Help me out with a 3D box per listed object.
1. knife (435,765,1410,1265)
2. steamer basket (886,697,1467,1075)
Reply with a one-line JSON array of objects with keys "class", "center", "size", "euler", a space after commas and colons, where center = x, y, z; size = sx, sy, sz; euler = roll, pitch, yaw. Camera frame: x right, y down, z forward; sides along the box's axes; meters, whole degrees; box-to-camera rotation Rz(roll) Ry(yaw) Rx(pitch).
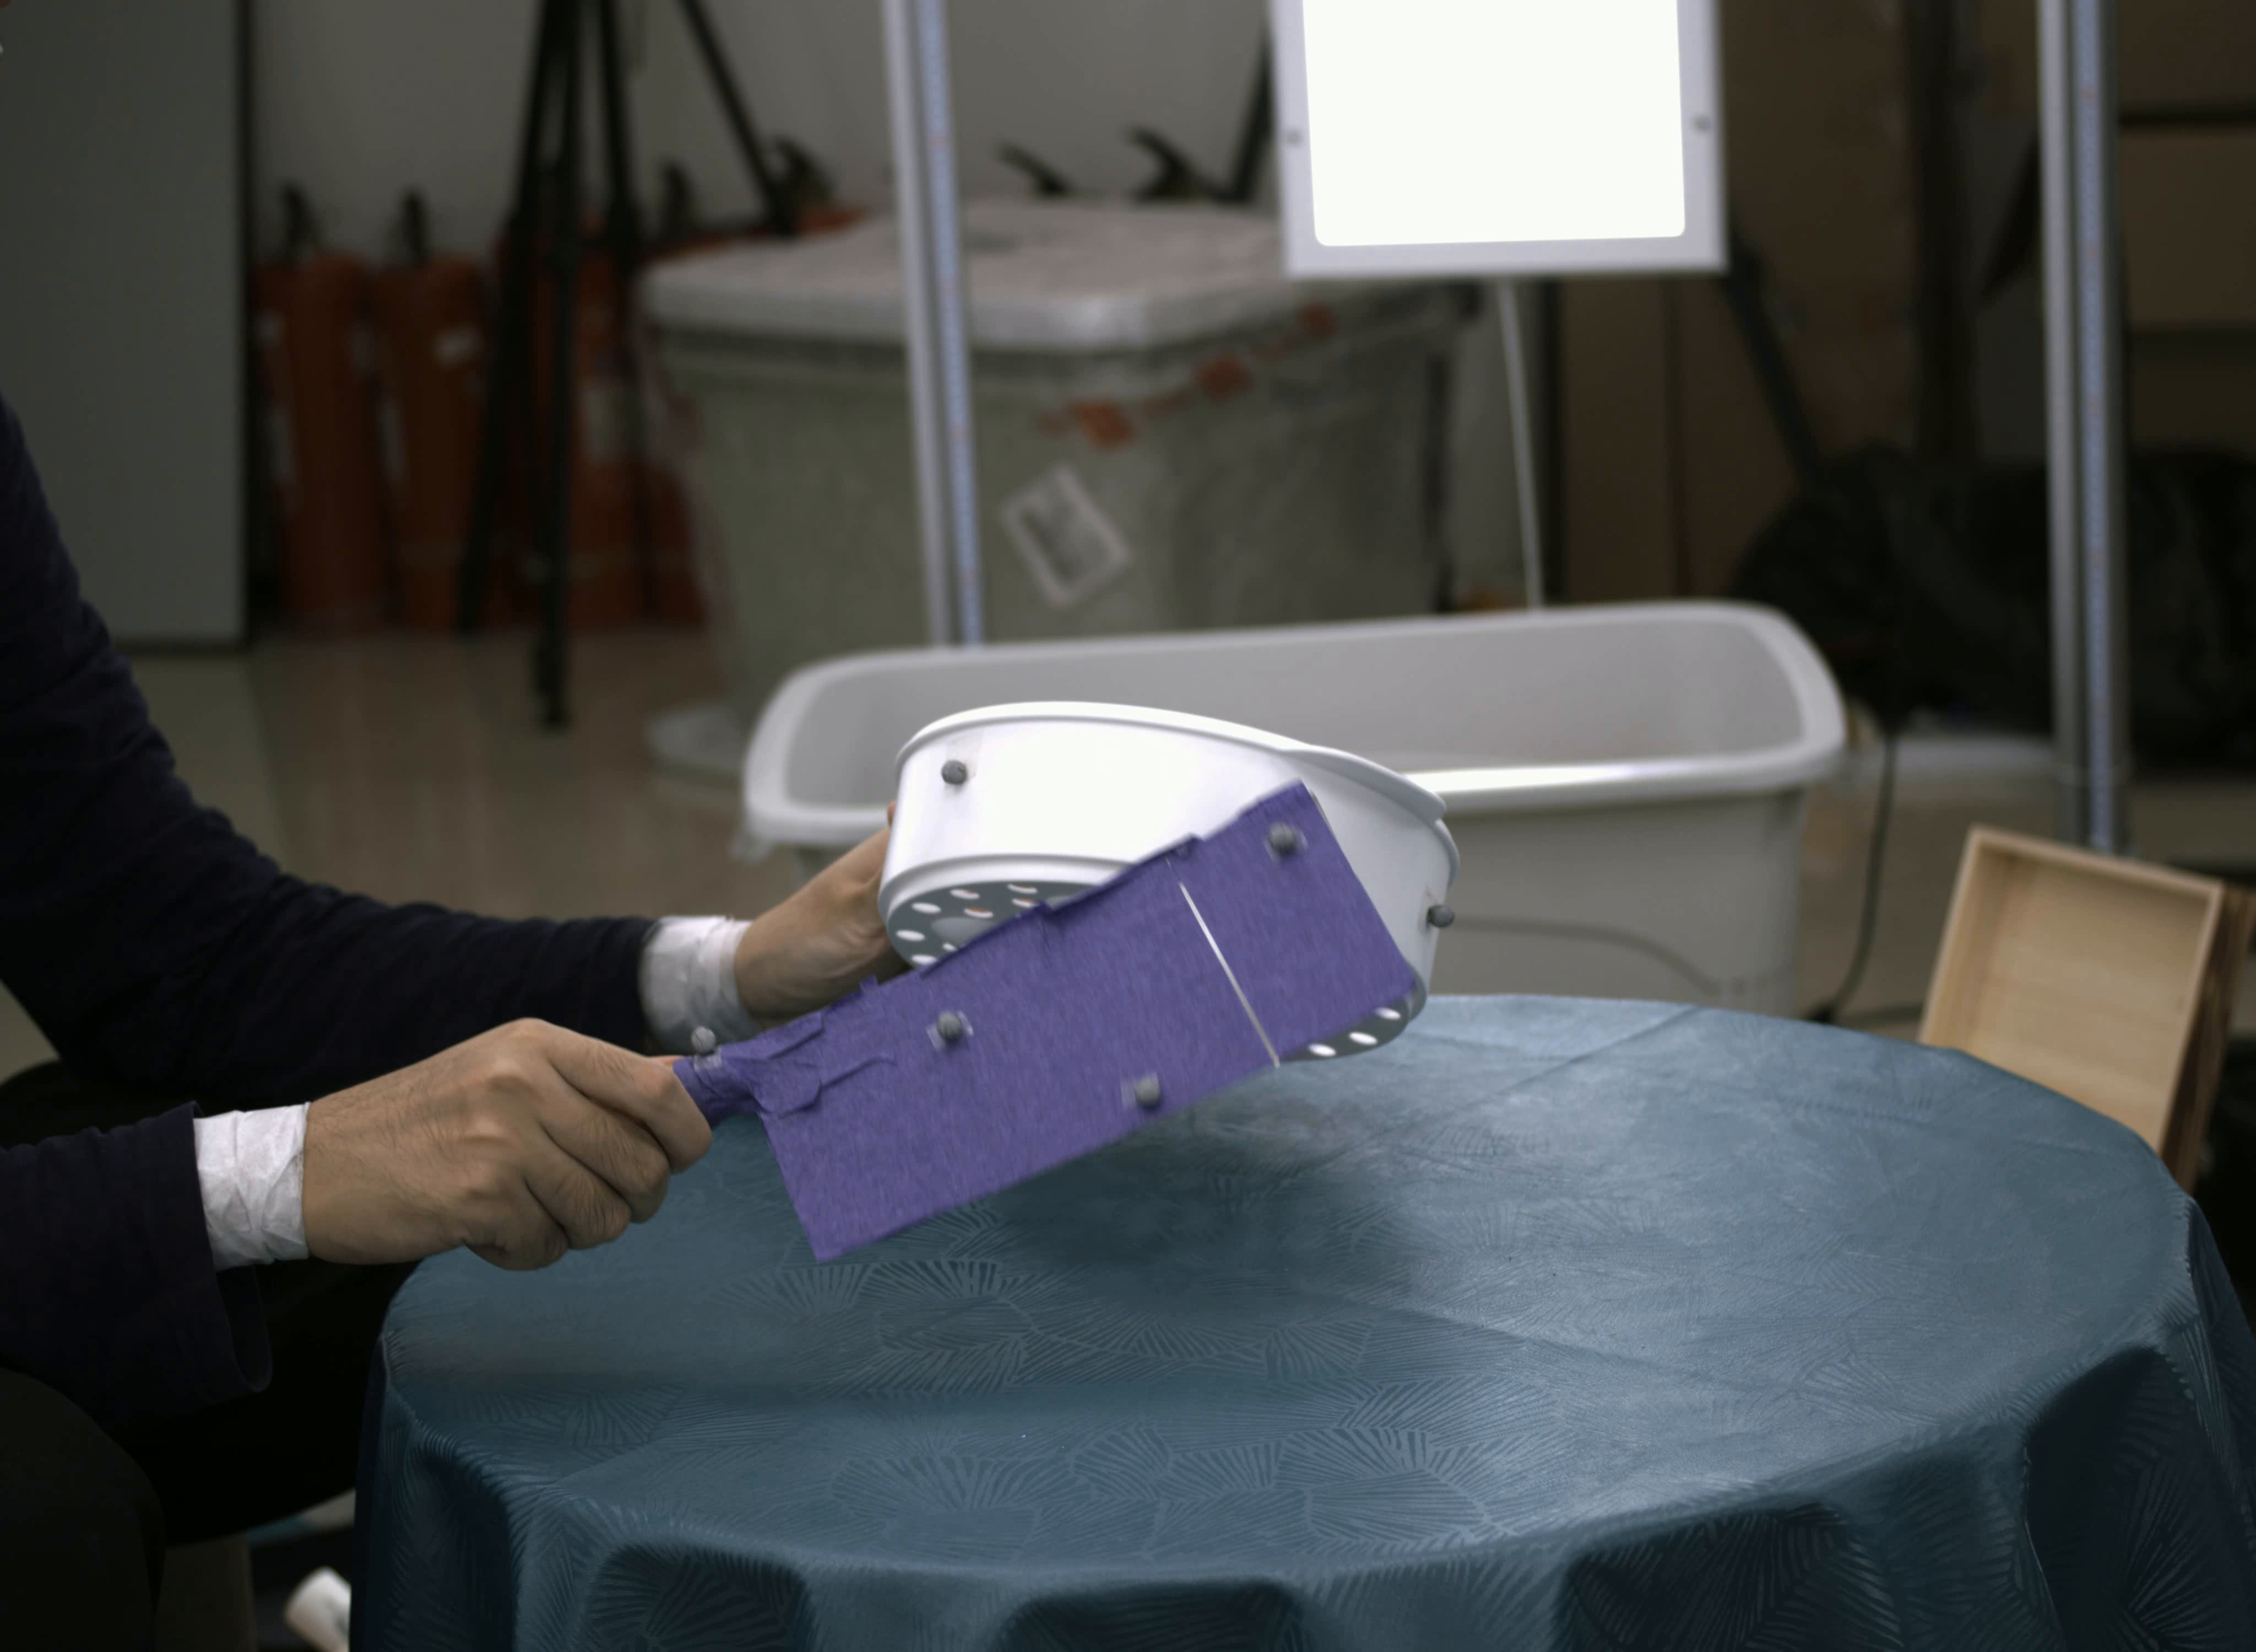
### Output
[{"class": "knife", "center": [-0.065, 0.082, 1.742], "size": [0.315, 0.032, 0.104], "euler": [-26, 54, 3]}, {"class": "steamer basket", "center": [0.015, 0.026, 1.910], "size": [0.198, 0.069, 0.236], "euler": [25, -25, -34]}]
